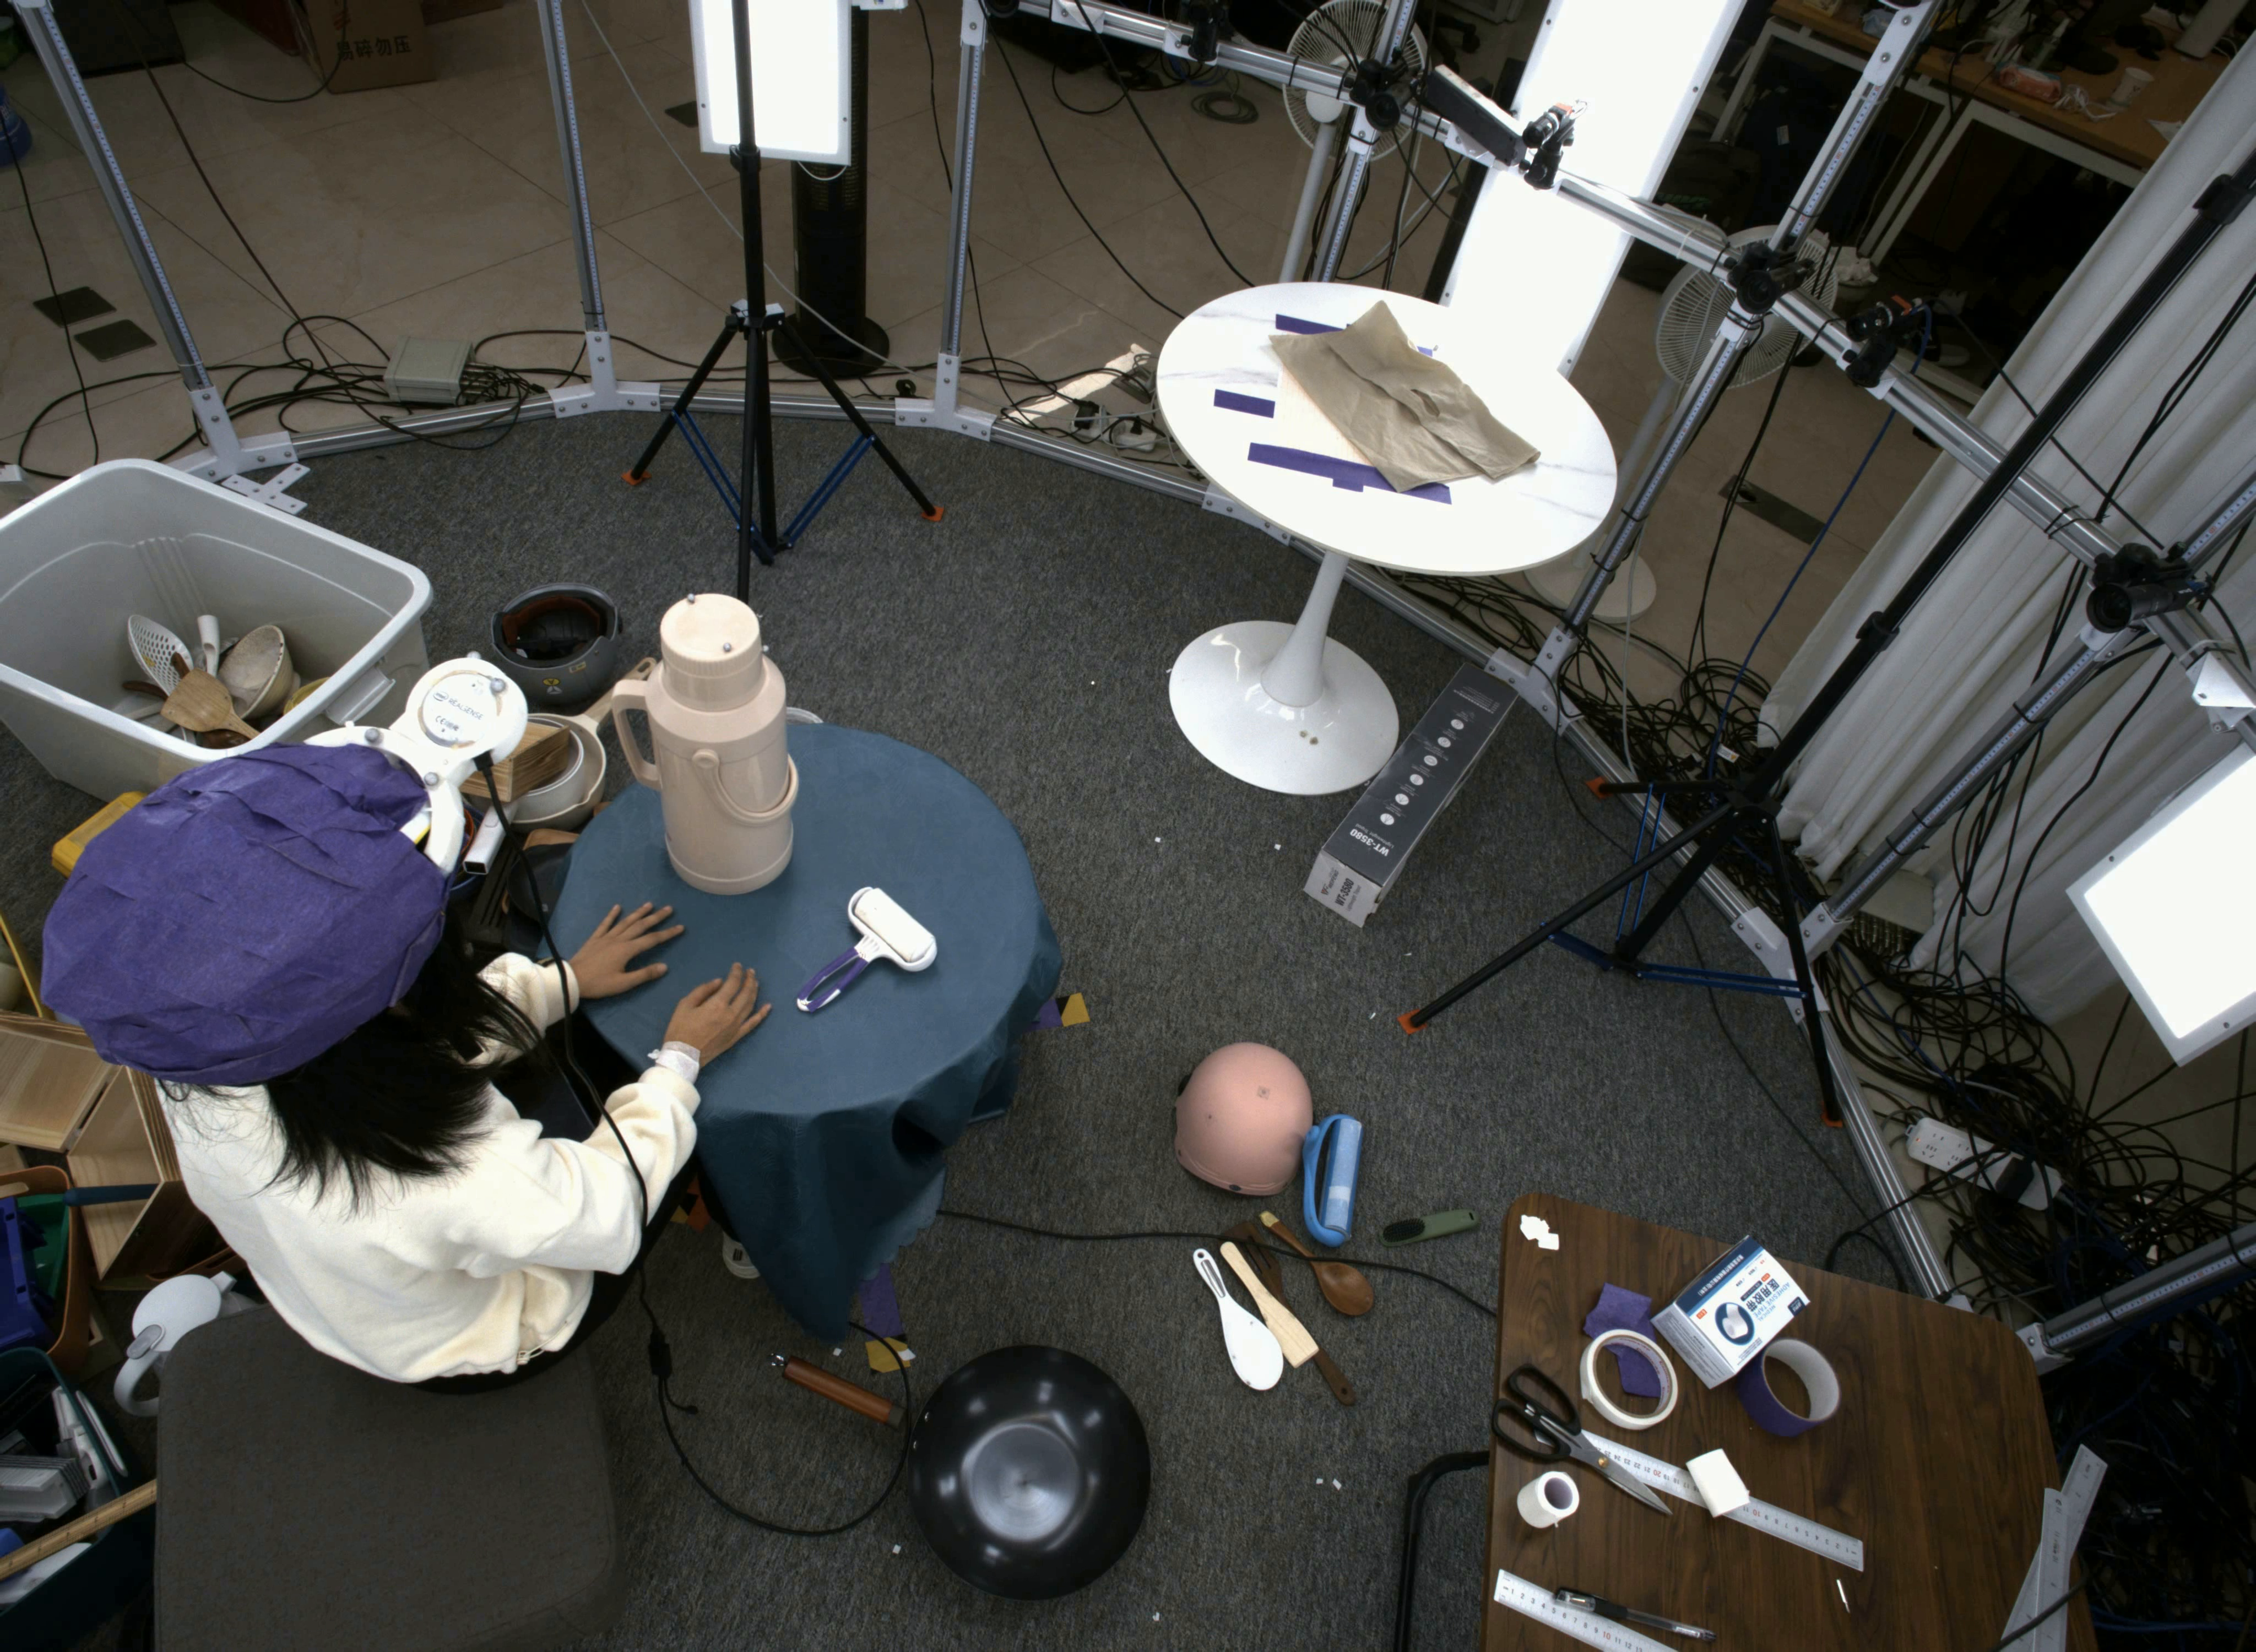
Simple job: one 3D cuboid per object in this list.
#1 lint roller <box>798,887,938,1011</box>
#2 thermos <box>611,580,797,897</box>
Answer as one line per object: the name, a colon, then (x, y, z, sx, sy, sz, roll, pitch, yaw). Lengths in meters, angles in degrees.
lint roller: (-0.336, 0.156, 1.594, 0.130, 0.051, 0.181, 41, 52, 16)
thermos: (-0.498, -0.101, 1.518, 0.207, 0.415, 0.172, 3, 52, -10)
